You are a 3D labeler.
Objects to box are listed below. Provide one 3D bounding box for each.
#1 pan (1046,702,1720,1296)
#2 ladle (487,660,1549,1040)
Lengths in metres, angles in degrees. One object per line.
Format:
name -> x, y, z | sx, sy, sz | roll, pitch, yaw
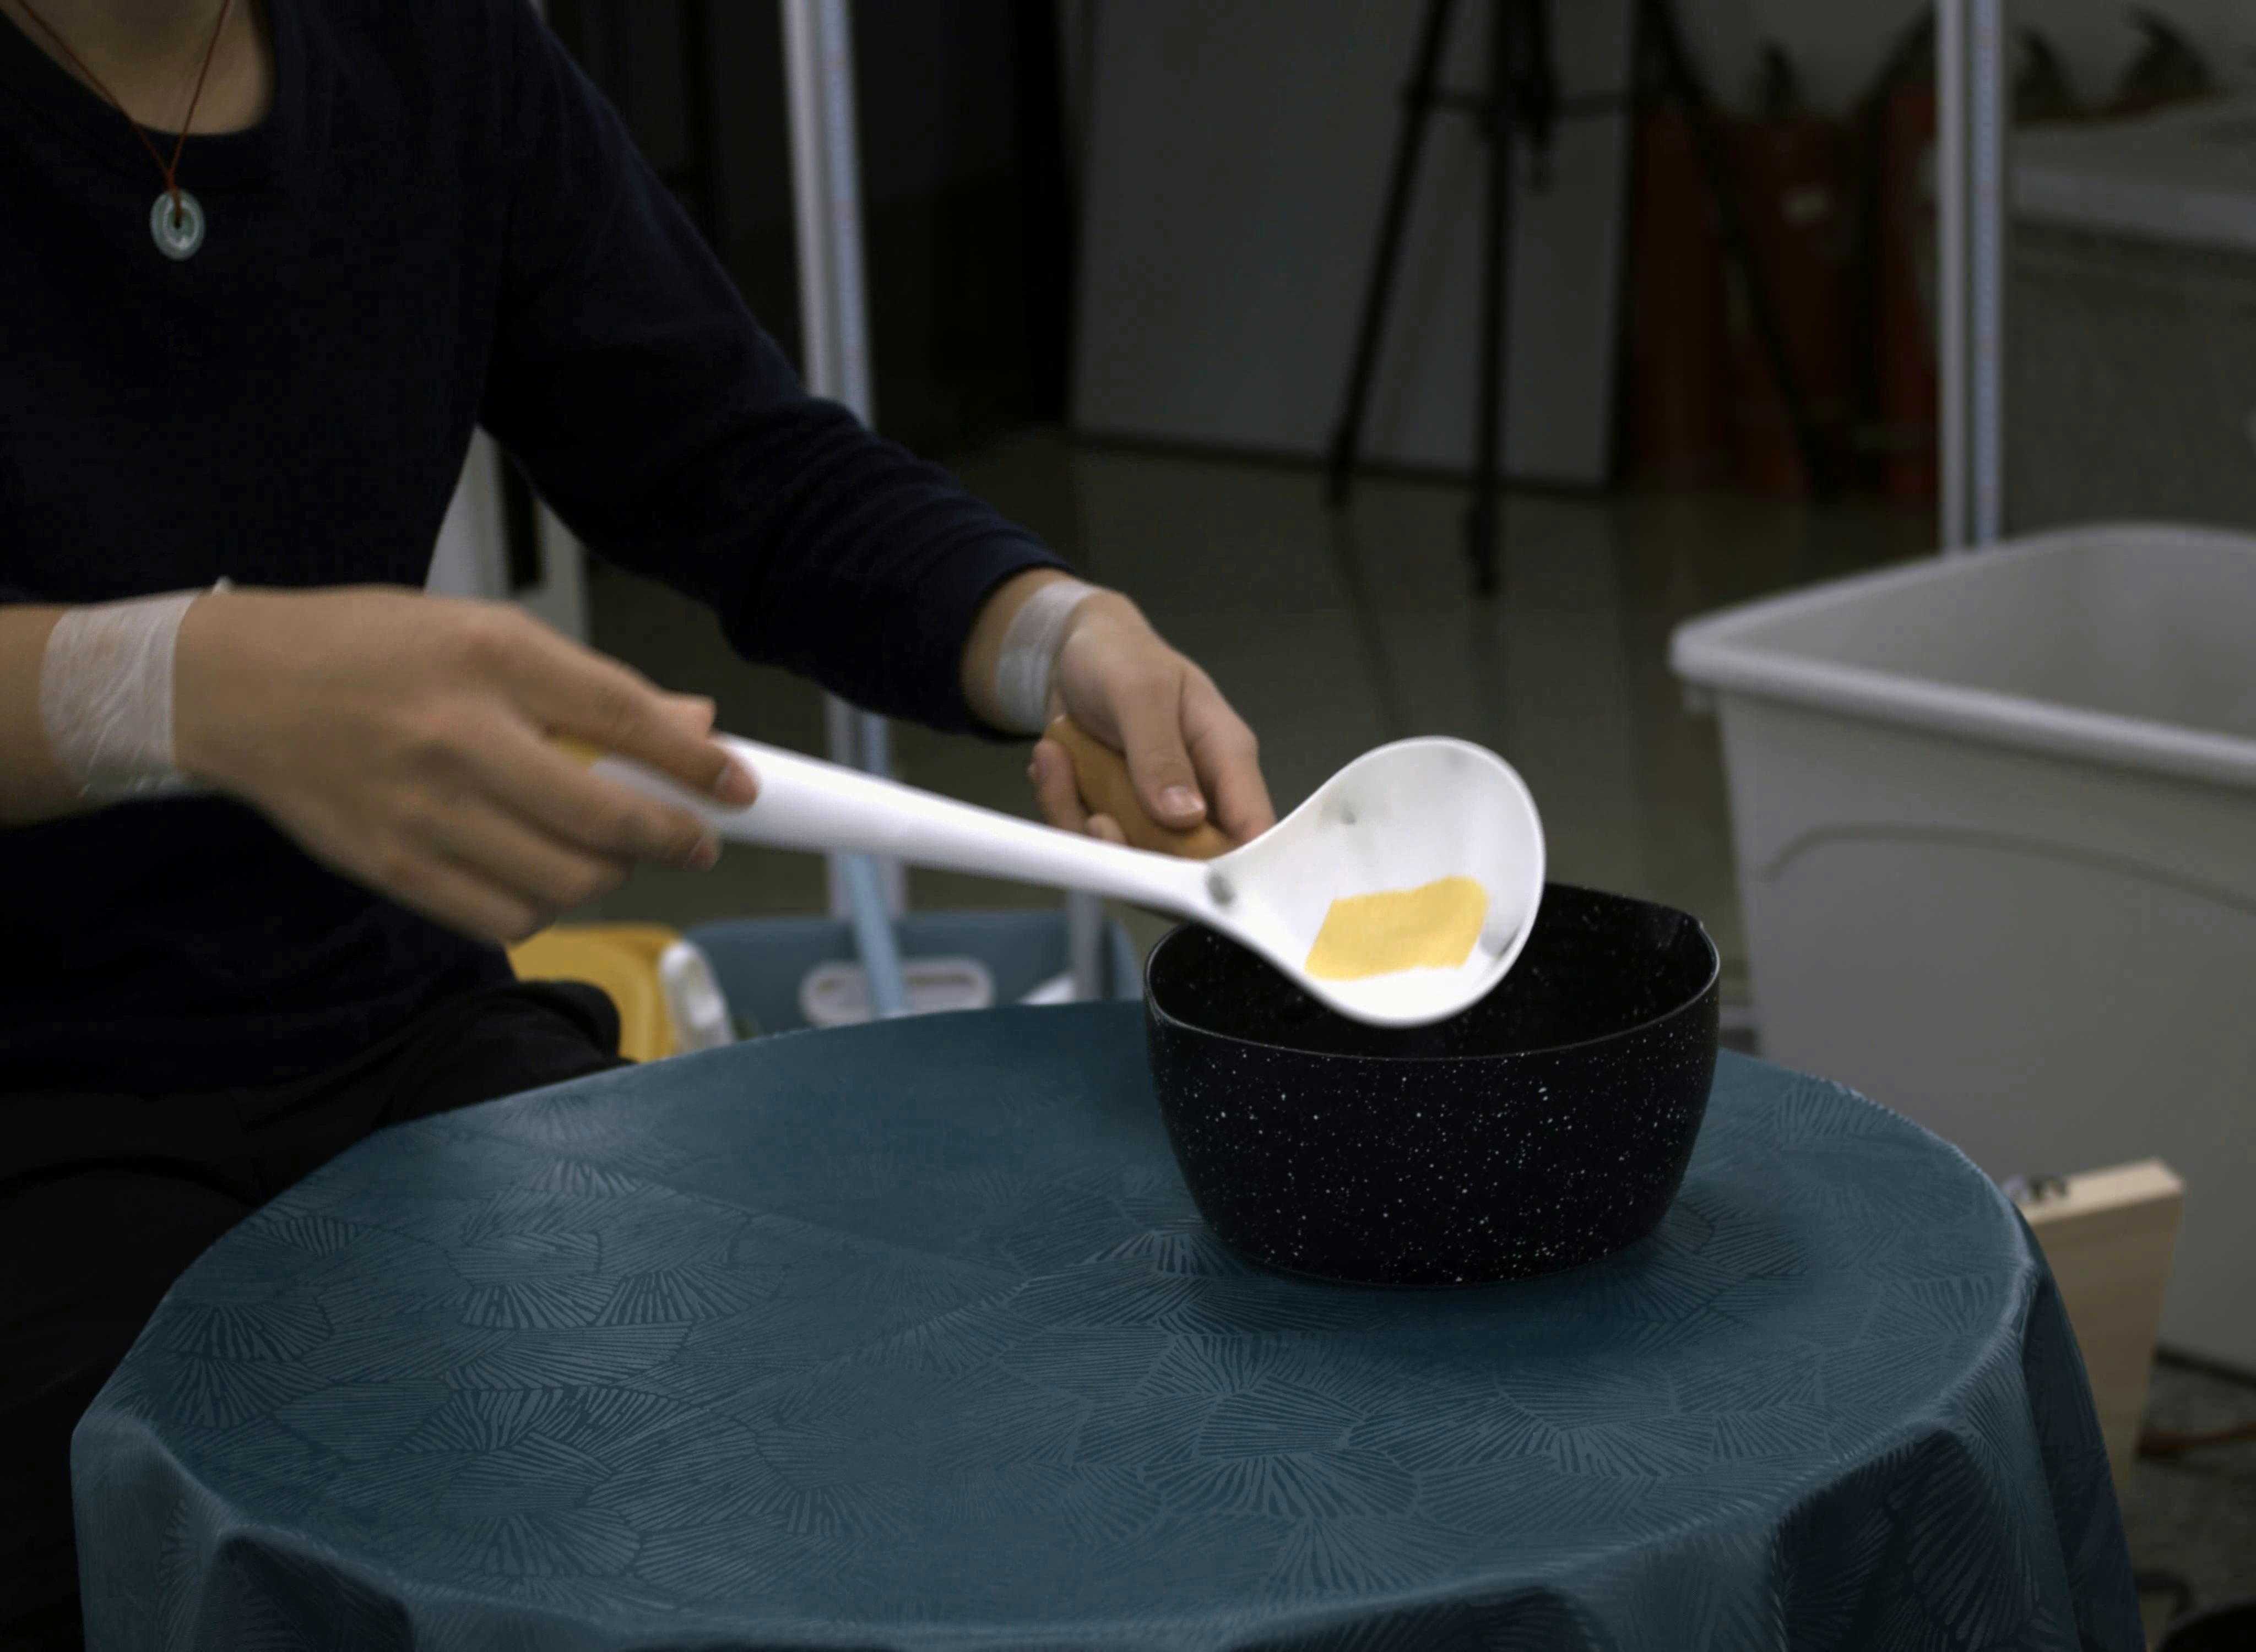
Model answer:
pan -> 0.058, 0.051, 1.775 | 0.203, 0.109, 0.346 | -12, 20, -26
ladle -> -0.029, -0.005, 1.494 | 0.287, 0.091, 0.070 | 13, -22, -15
